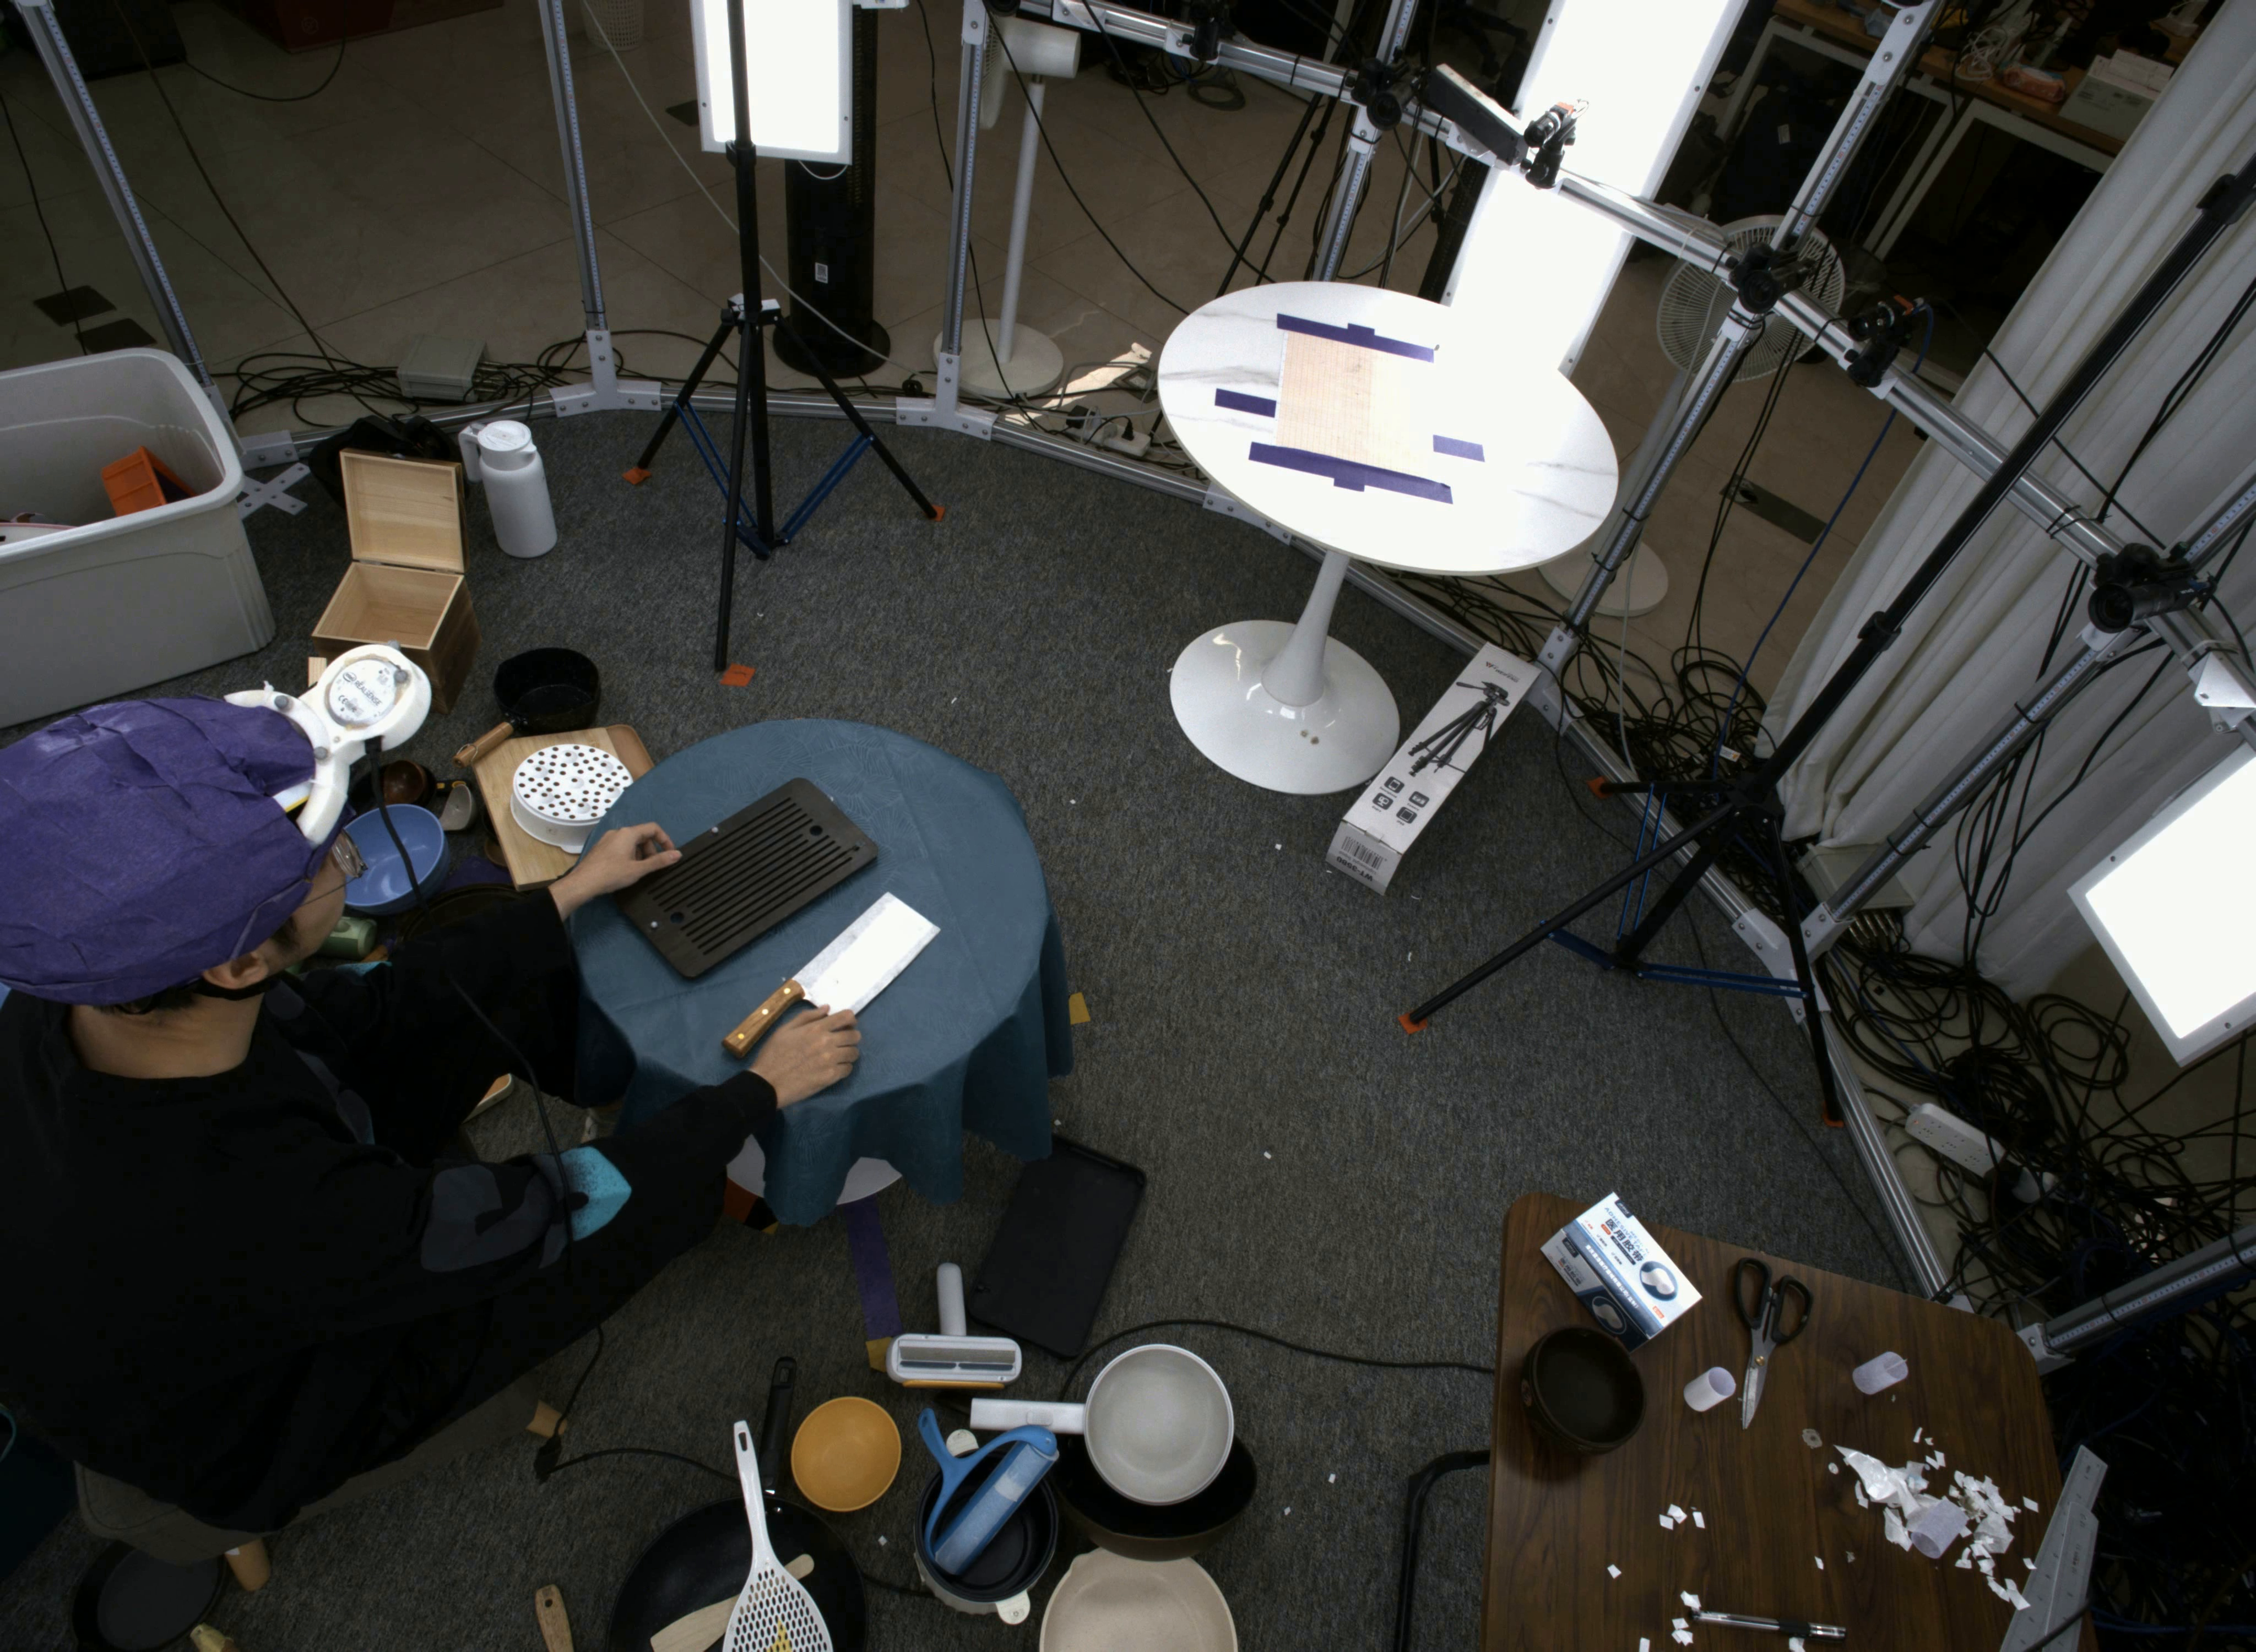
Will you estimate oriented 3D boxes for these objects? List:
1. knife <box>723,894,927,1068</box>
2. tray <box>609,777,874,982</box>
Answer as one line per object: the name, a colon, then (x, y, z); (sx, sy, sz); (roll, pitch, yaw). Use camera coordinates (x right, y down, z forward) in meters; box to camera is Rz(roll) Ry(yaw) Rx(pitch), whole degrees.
knife: (-0.357, 0.193, 1.577); (0.091, 0.021, 0.305); (35, 51, 10)
tray: (-0.487, 0.061, 1.639); (0.166, 0.019, 0.306); (42, 55, 16)
